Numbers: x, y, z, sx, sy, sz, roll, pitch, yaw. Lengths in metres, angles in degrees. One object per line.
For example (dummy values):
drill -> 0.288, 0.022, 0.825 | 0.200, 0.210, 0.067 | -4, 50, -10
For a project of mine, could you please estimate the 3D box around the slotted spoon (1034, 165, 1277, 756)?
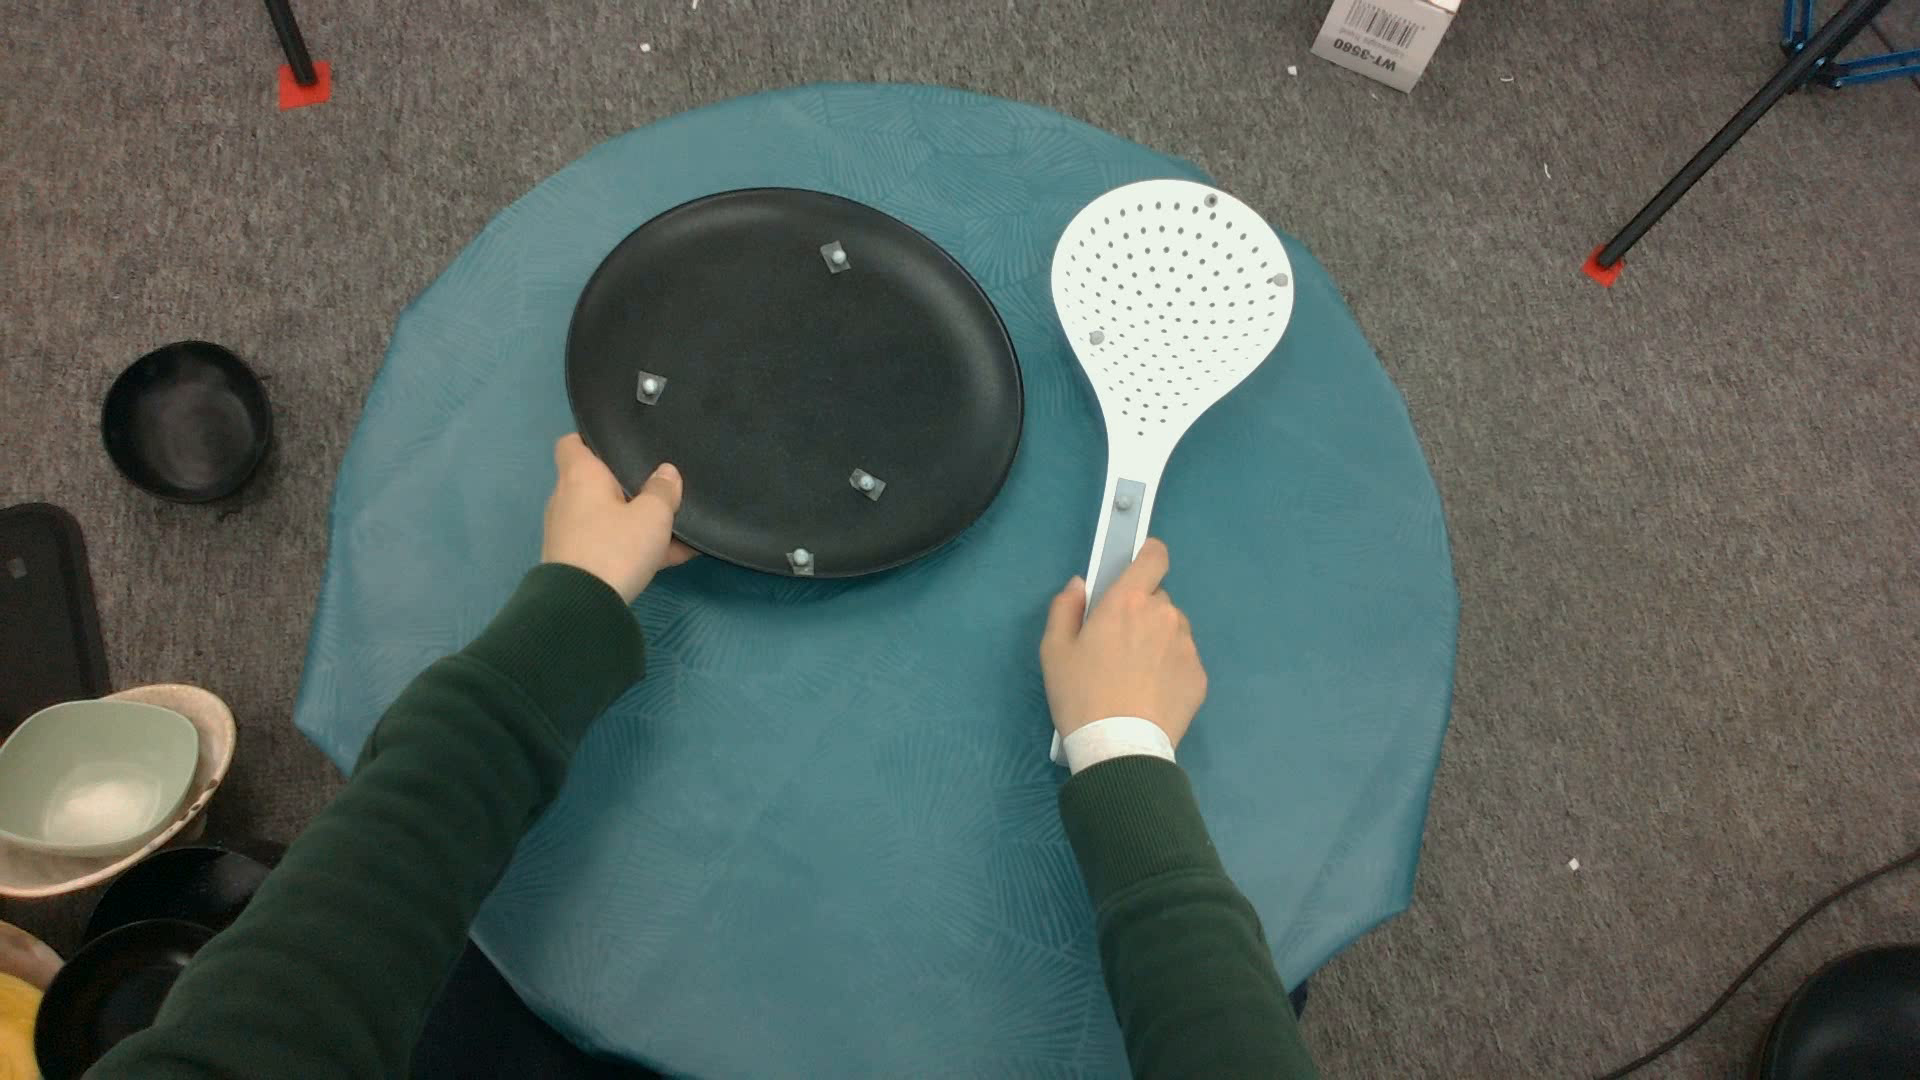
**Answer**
slotted spoon -> 0.088, -0.054, 0.747 | 0.136, 0.045, 0.351 | 12, 65, 5

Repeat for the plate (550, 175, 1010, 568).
plate -> -0.093, -0.093, 0.738 | 0.244, 0.023, 0.245 | 6, 63, -13
